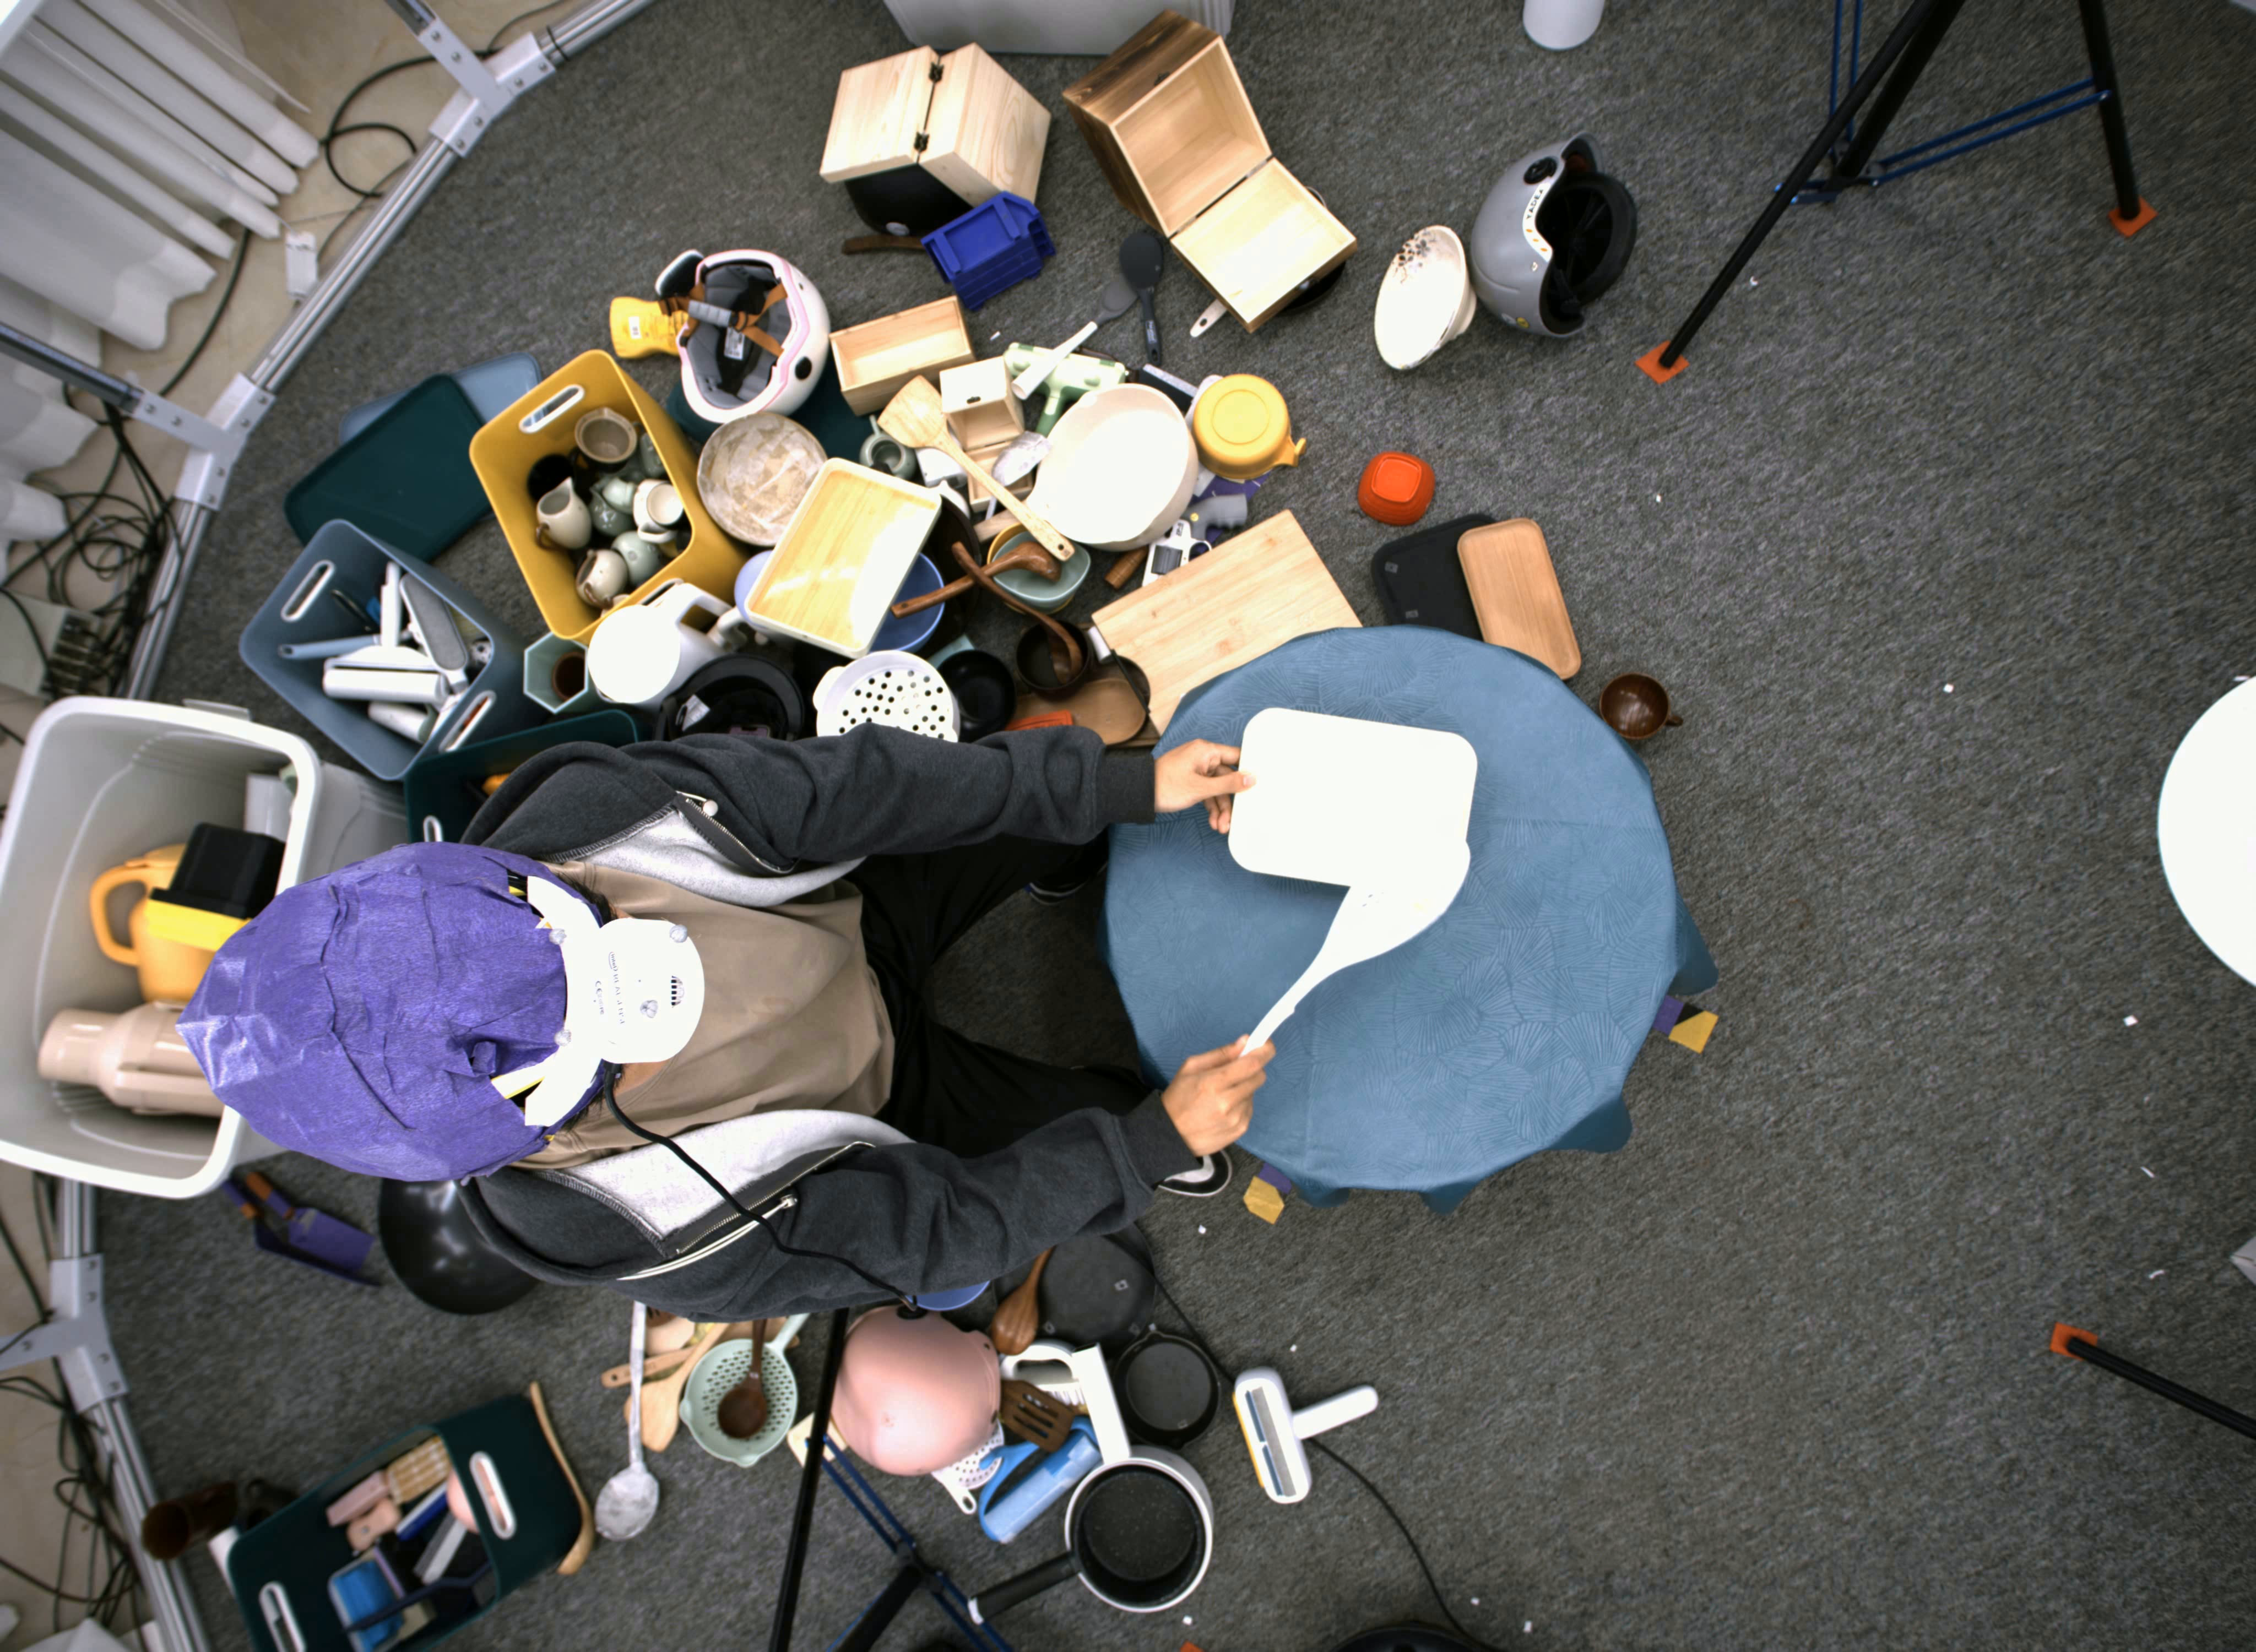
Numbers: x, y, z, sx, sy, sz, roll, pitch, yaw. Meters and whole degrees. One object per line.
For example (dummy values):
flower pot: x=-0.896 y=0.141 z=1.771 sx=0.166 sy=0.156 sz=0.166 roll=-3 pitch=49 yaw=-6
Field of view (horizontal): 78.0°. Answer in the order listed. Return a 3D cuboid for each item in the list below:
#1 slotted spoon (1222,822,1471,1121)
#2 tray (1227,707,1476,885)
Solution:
slotted spoon: x=0.197 y=0.139 z=1.312 sx=0.349 sy=0.135 sz=0.051 roll=-45 pitch=118 yaw=3
tray: x=0.227 y=-0.027 z=1.412 sx=0.240 sy=0.017 sz=0.172 roll=9 pitch=95 yaw=5
